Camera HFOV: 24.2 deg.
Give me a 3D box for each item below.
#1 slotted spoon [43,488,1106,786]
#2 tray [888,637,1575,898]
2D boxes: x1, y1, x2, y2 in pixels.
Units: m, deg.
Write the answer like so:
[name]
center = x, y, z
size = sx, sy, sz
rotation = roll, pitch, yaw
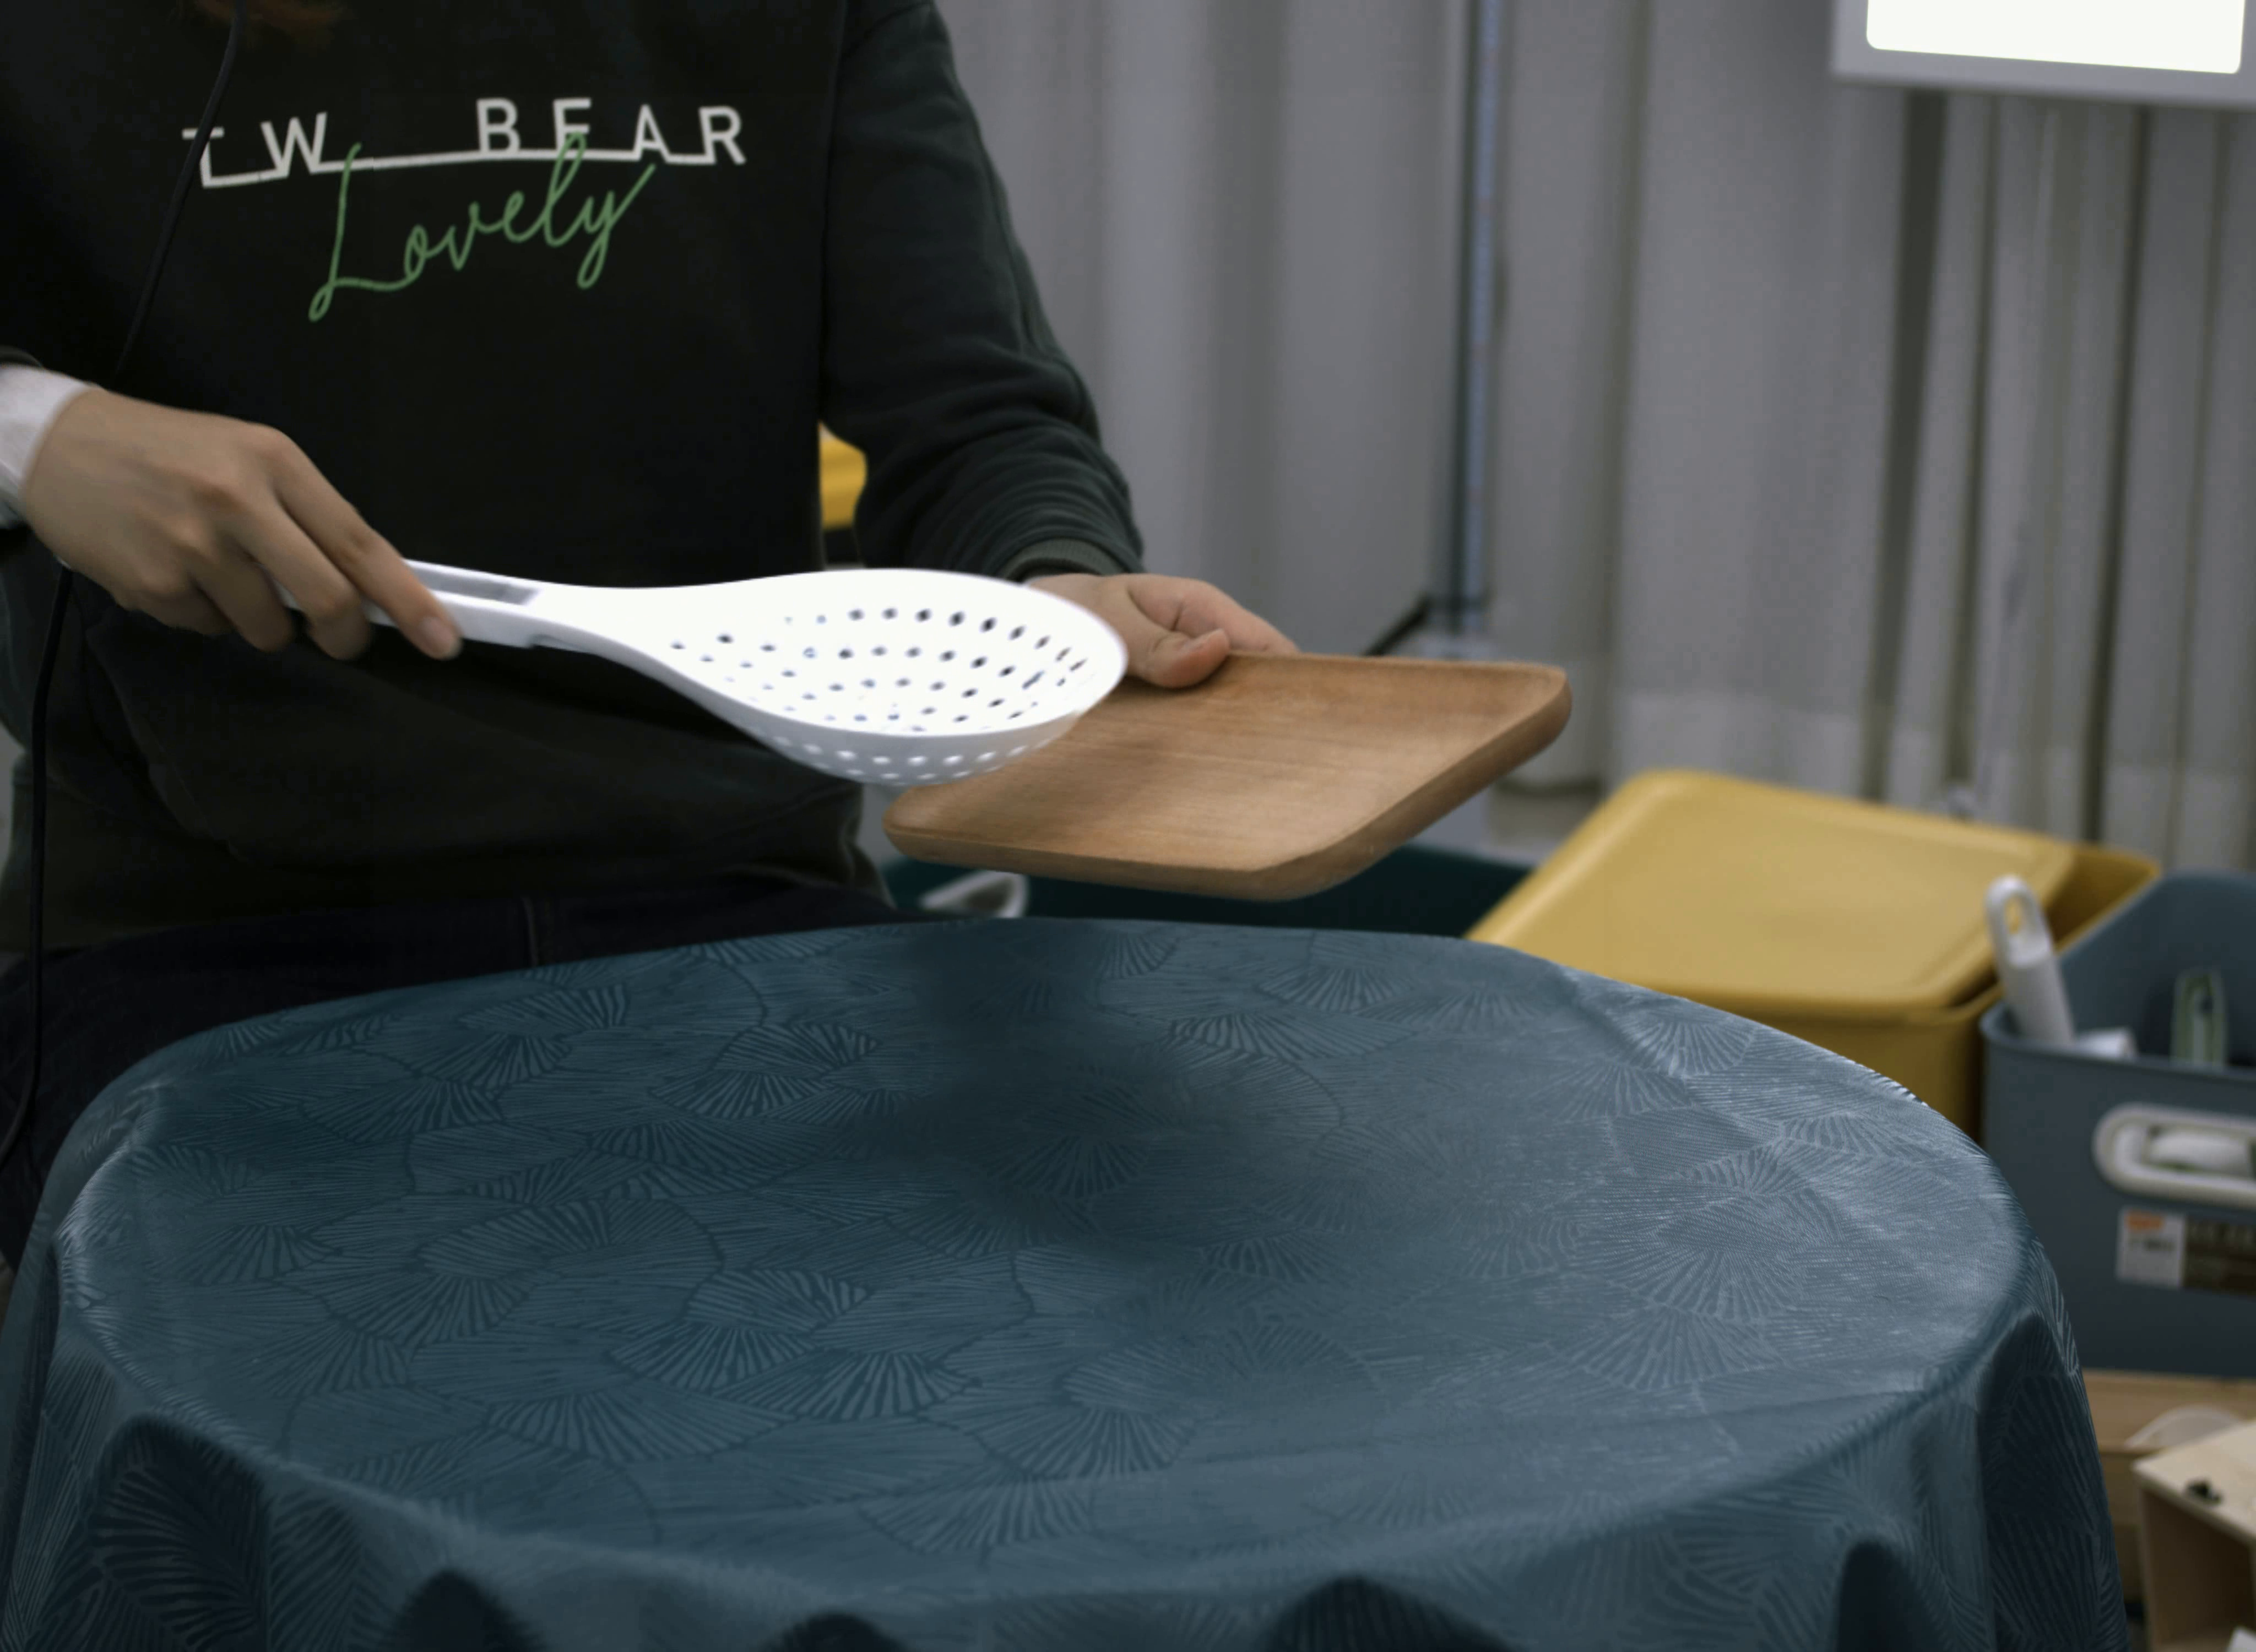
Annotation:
[slotted spoon]
center = -0.178, -0.068, 1.662
size = 0.347, 0.046, 0.136
rotation = 15, 23, 9
[tray]
center = 0.029, -0.020, 1.626
size = 0.130, 0.023, 0.248
rotation = -32, 18, -27
